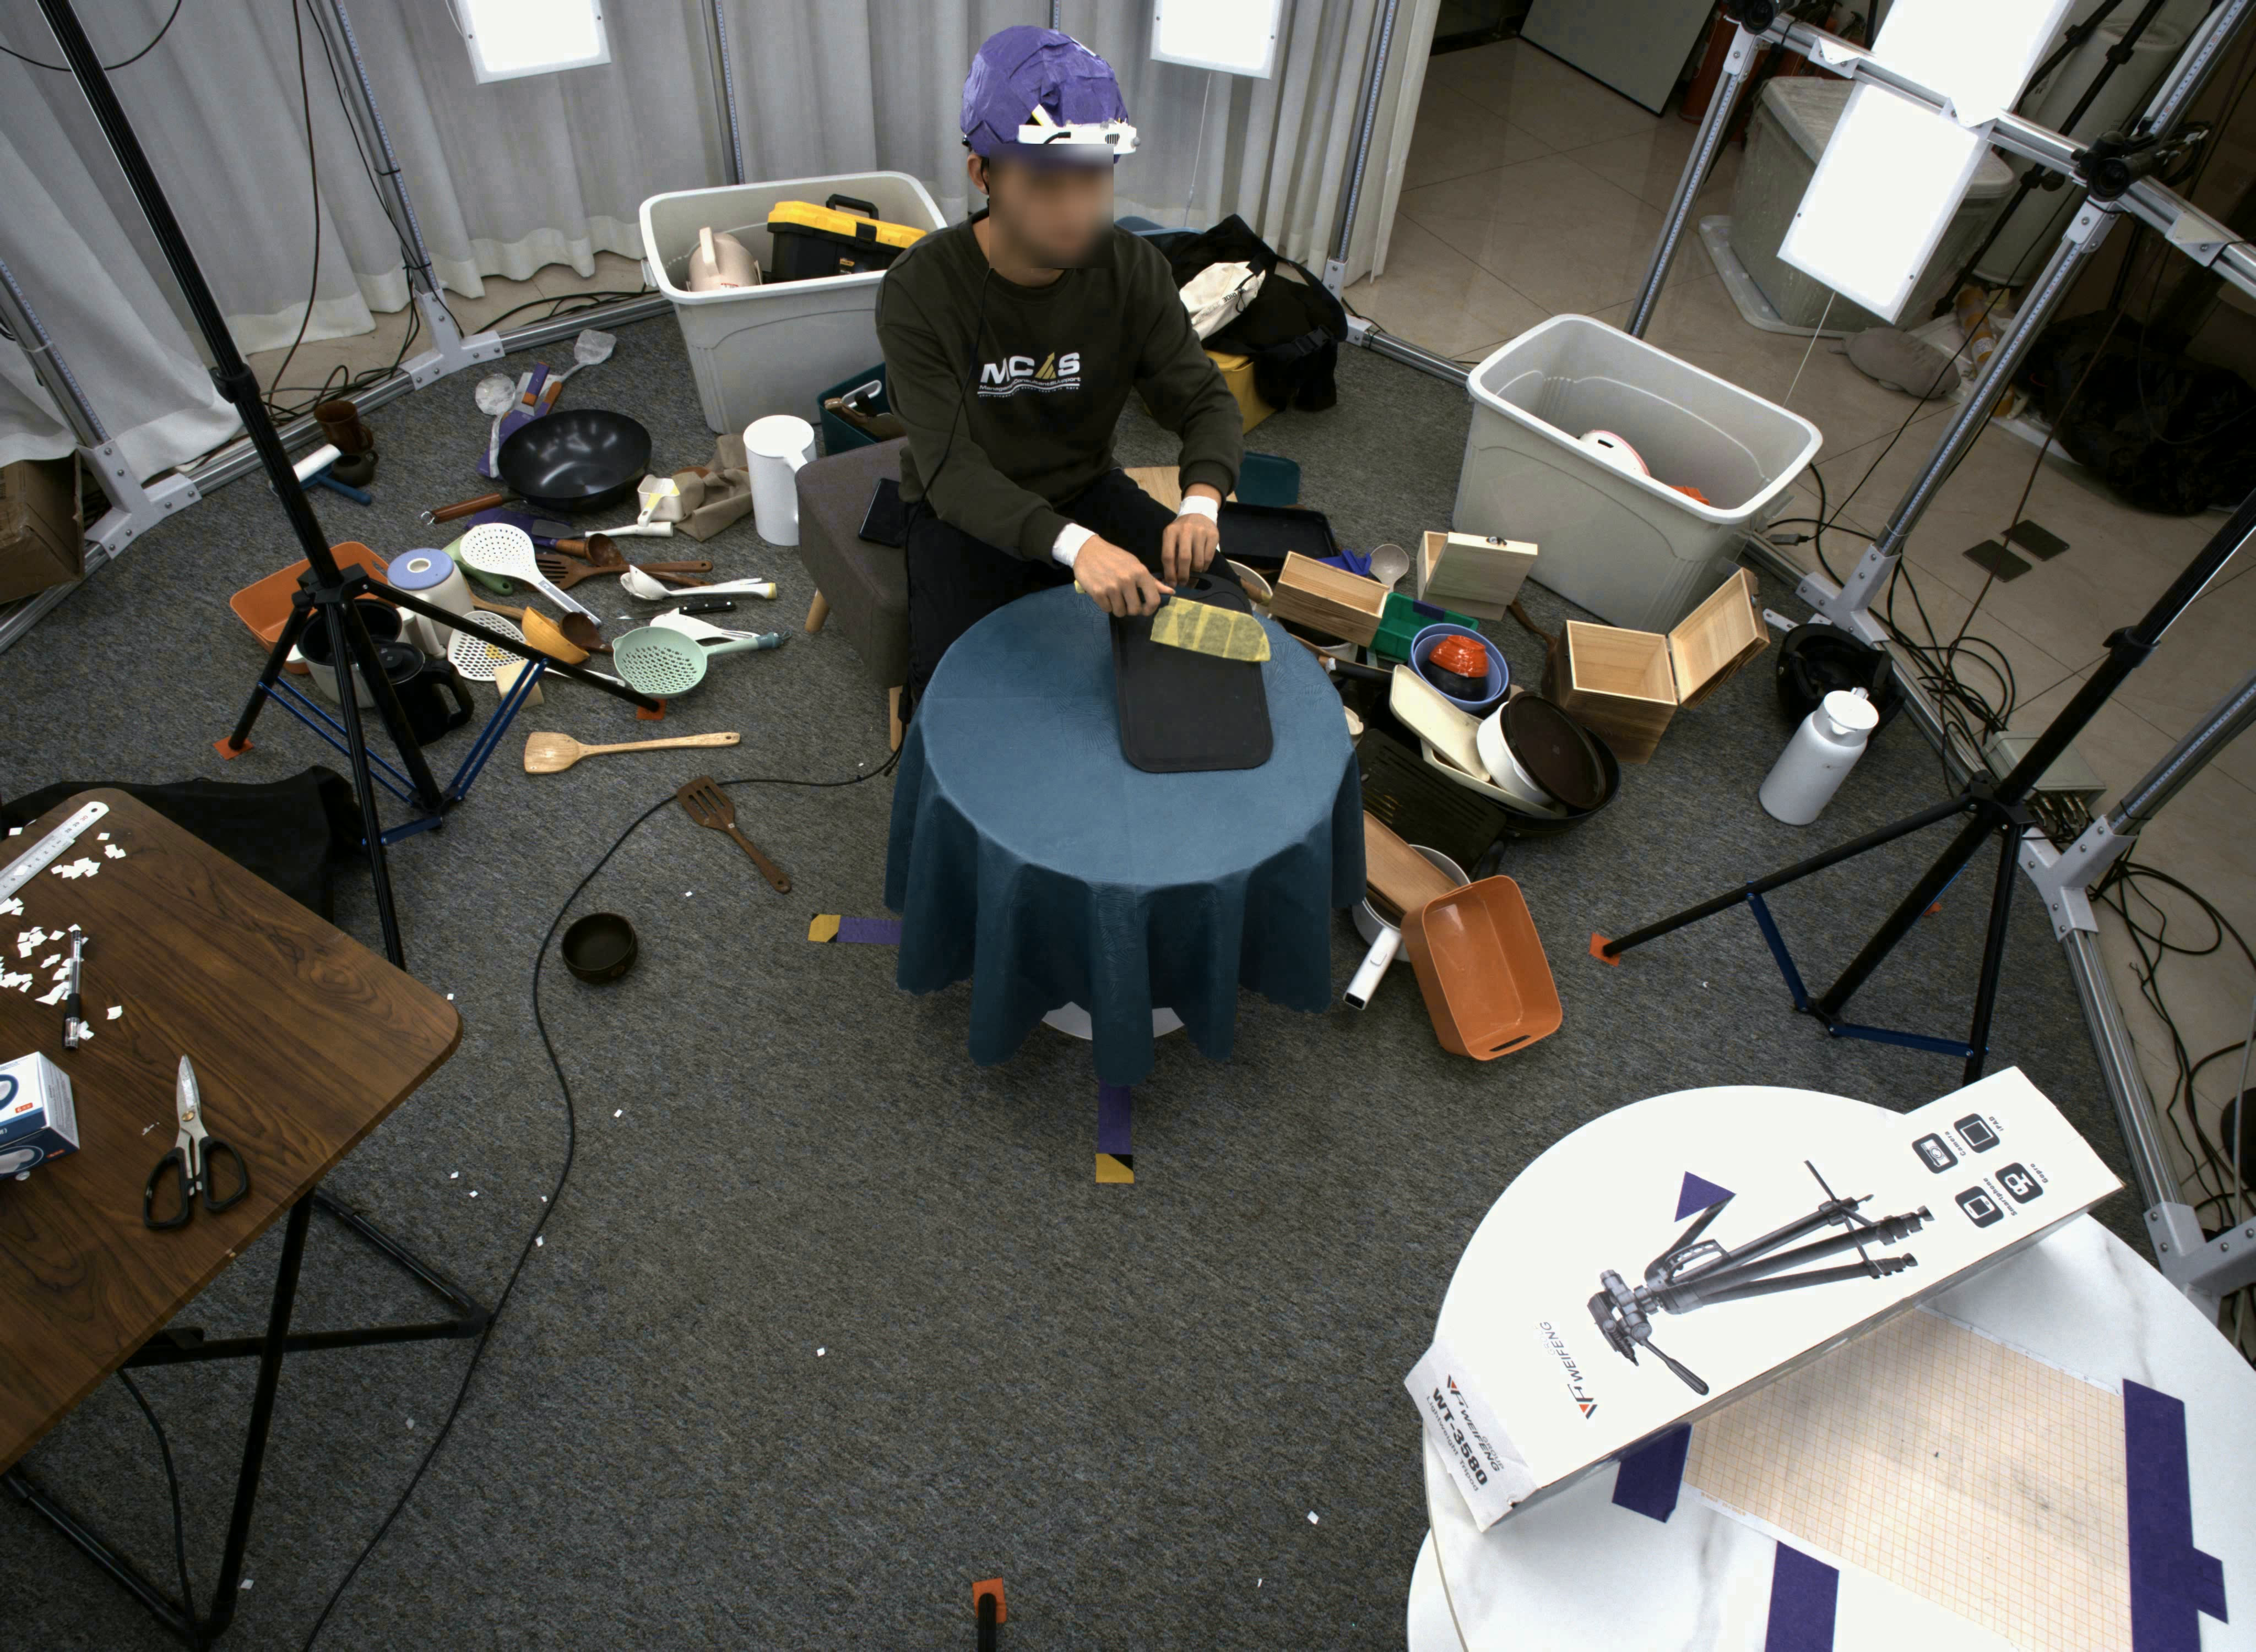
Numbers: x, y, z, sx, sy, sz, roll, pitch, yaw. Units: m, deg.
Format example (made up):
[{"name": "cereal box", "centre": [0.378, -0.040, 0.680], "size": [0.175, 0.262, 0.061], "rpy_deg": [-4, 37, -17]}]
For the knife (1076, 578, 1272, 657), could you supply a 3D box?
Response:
[{"name": "knife", "centre": [0.064, -0.293, 1.805], "size": [0.289, 0.079, 0.028], "rpy_deg": [16, 29, -1]}]

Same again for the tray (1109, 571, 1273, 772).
[{"name": "tray", "centre": [0.086, -0.224, 1.809], "size": [0.211, 0.009, 0.332], "rpy_deg": [-3, 64, -7]}]
